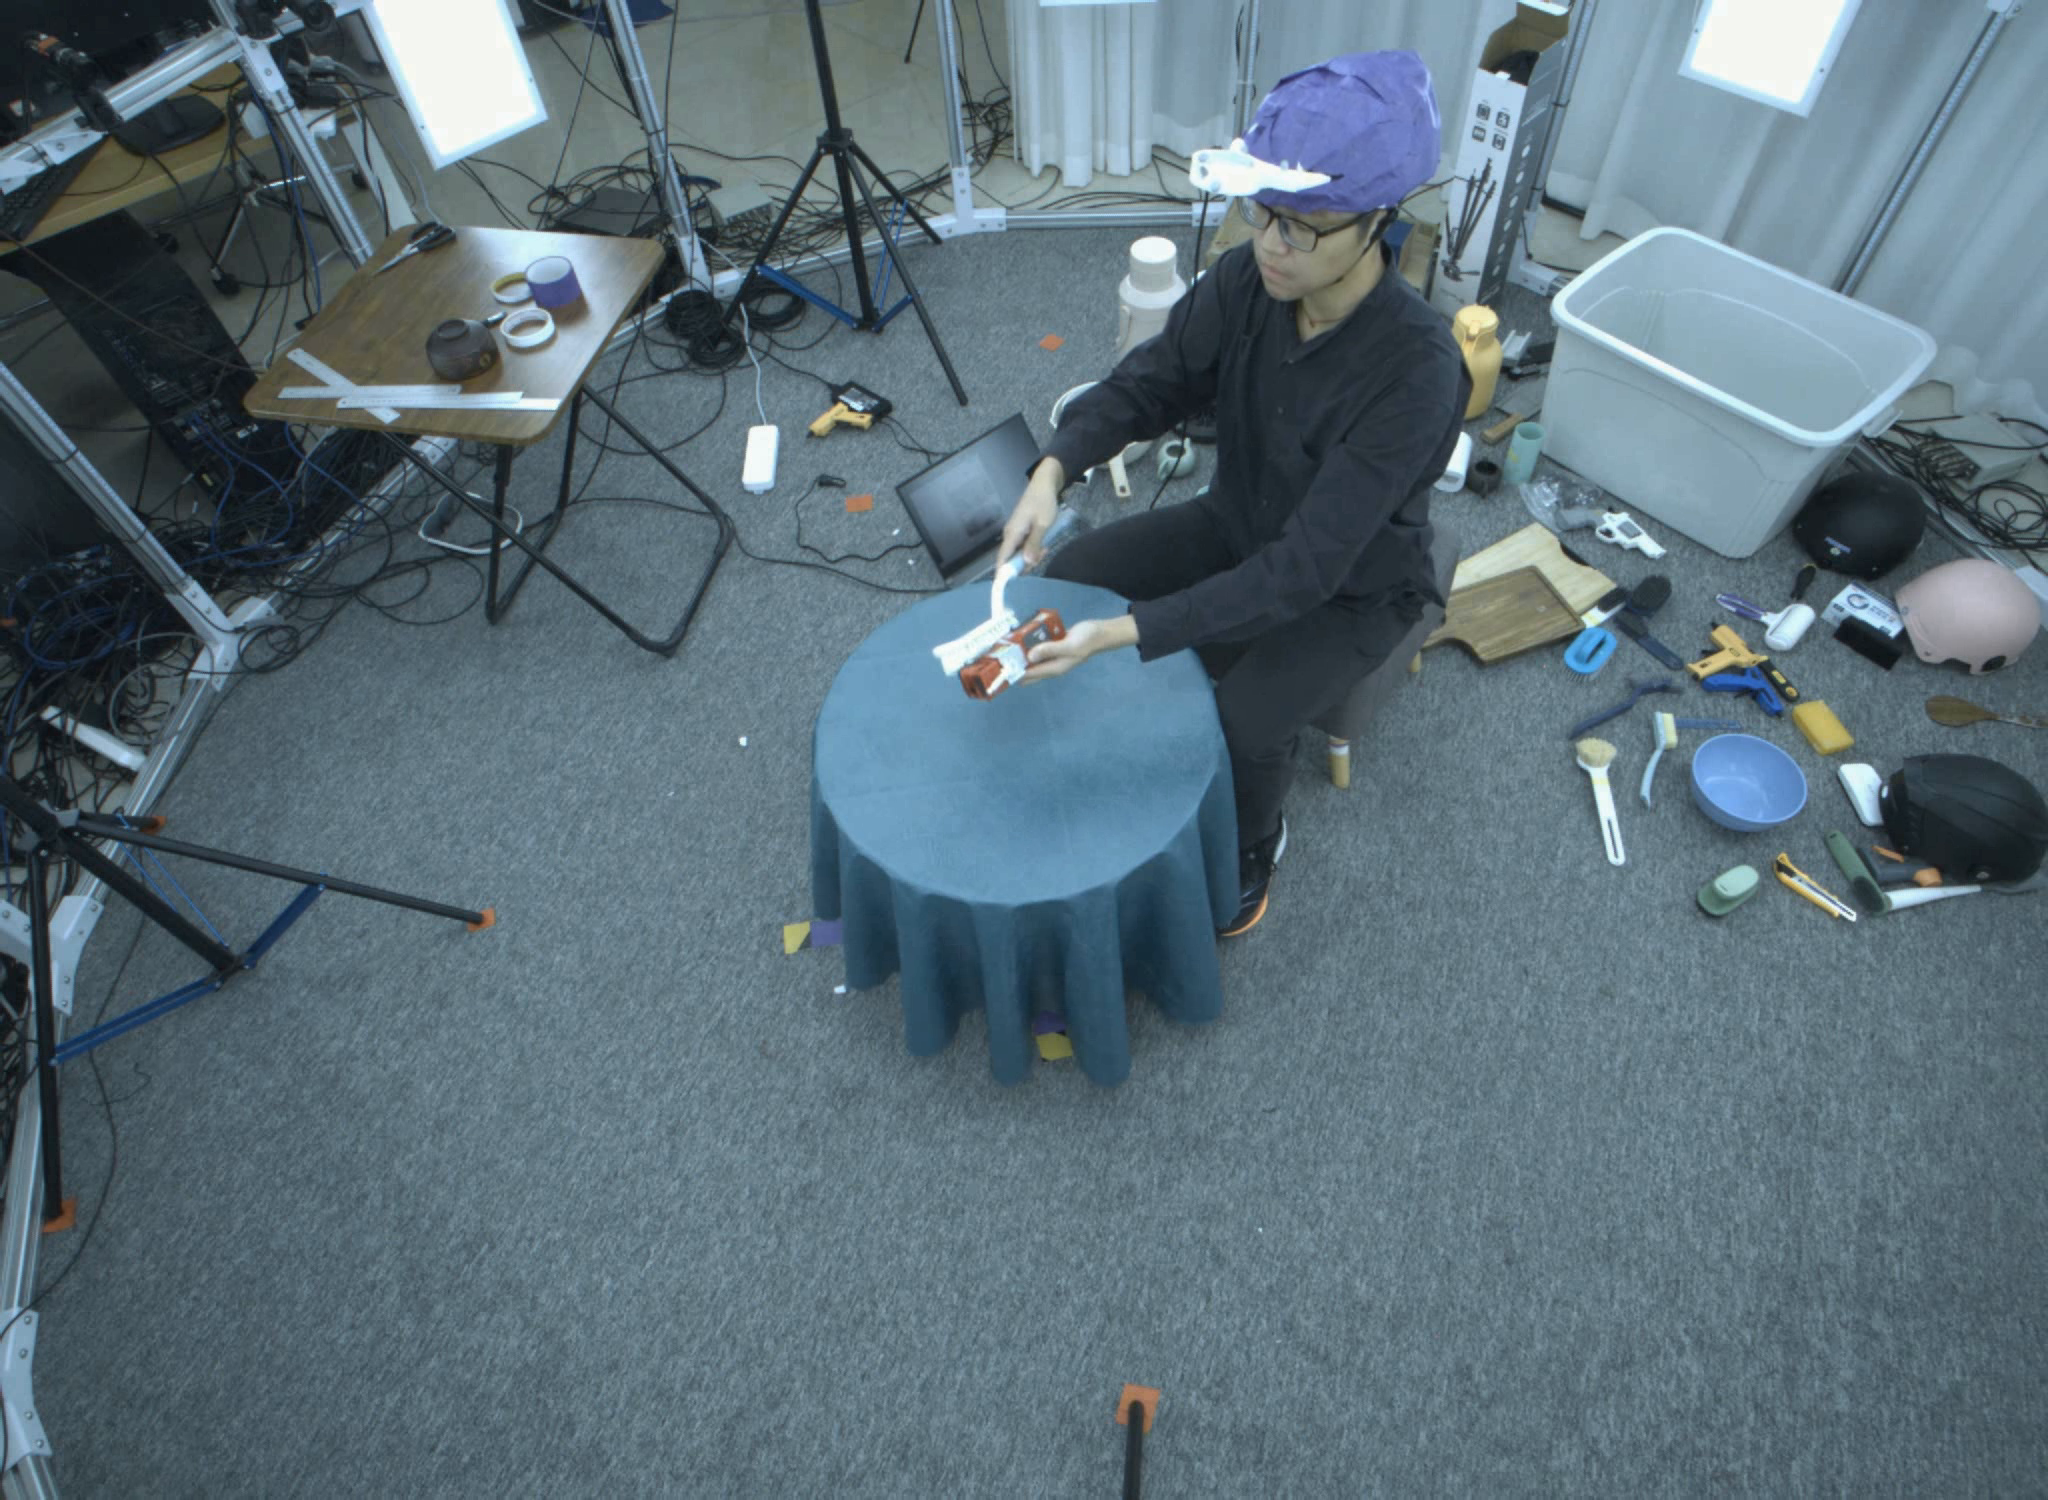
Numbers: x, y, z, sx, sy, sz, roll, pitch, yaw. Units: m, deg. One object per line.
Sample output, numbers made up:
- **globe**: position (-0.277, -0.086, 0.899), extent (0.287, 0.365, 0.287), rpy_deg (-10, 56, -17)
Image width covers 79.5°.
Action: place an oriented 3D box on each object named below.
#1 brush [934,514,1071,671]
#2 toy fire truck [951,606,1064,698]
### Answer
- **brush**: position (-0.003, -0.213, 1.709), extent (0.081, 0.086, 0.327), rpy_deg (14, 50, 36)
- **toy fire truck**: position (-0.021, -0.130, 1.623), extent (0.068, 0.055, 0.169), rpy_deg (11, 44, 47)
